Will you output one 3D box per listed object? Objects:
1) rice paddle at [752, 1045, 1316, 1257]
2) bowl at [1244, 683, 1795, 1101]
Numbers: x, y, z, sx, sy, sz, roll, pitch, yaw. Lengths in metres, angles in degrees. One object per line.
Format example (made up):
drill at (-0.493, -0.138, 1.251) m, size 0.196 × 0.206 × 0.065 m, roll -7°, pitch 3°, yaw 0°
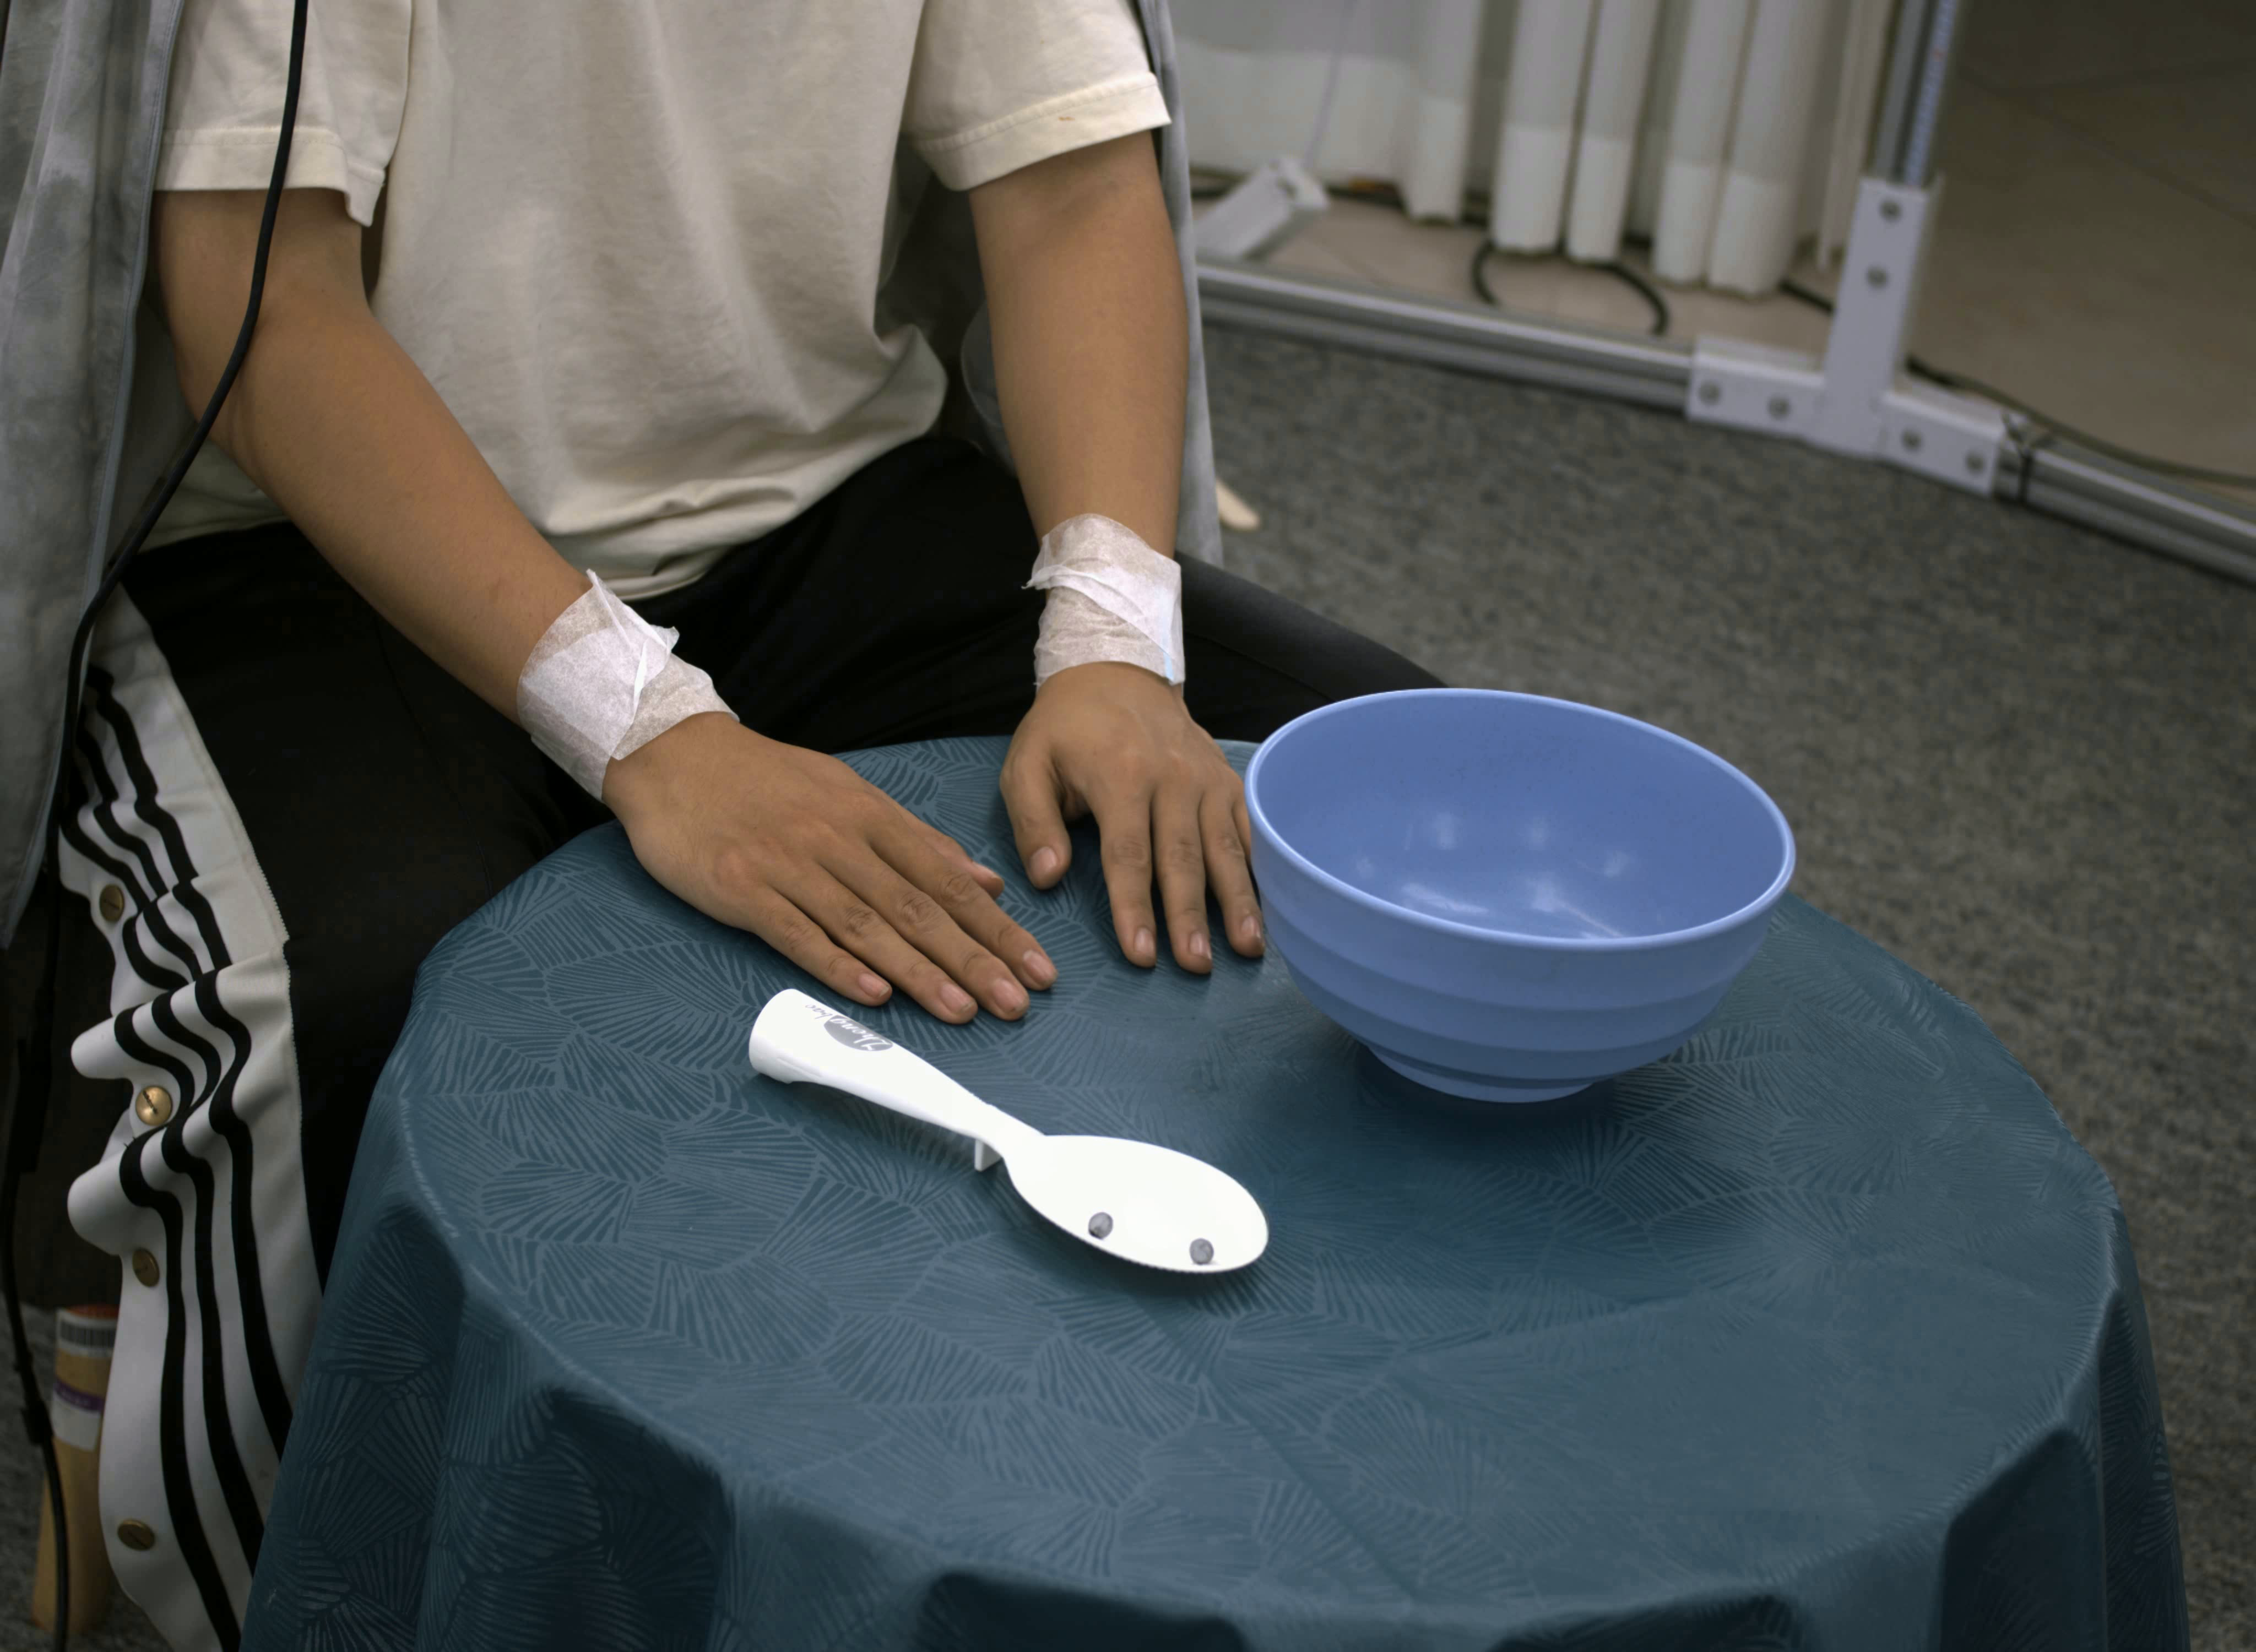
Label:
rice paddle at (-0.031, 0.113, 1.797) m, size 0.206 × 0.029 × 0.068 m, roll 14°, pitch 14°, yaw 23°
bowl at (0.134, 0.034, 1.904) m, size 0.196 × 0.095 × 0.198 m, roll 5°, pitch 28°, yaw -3°
